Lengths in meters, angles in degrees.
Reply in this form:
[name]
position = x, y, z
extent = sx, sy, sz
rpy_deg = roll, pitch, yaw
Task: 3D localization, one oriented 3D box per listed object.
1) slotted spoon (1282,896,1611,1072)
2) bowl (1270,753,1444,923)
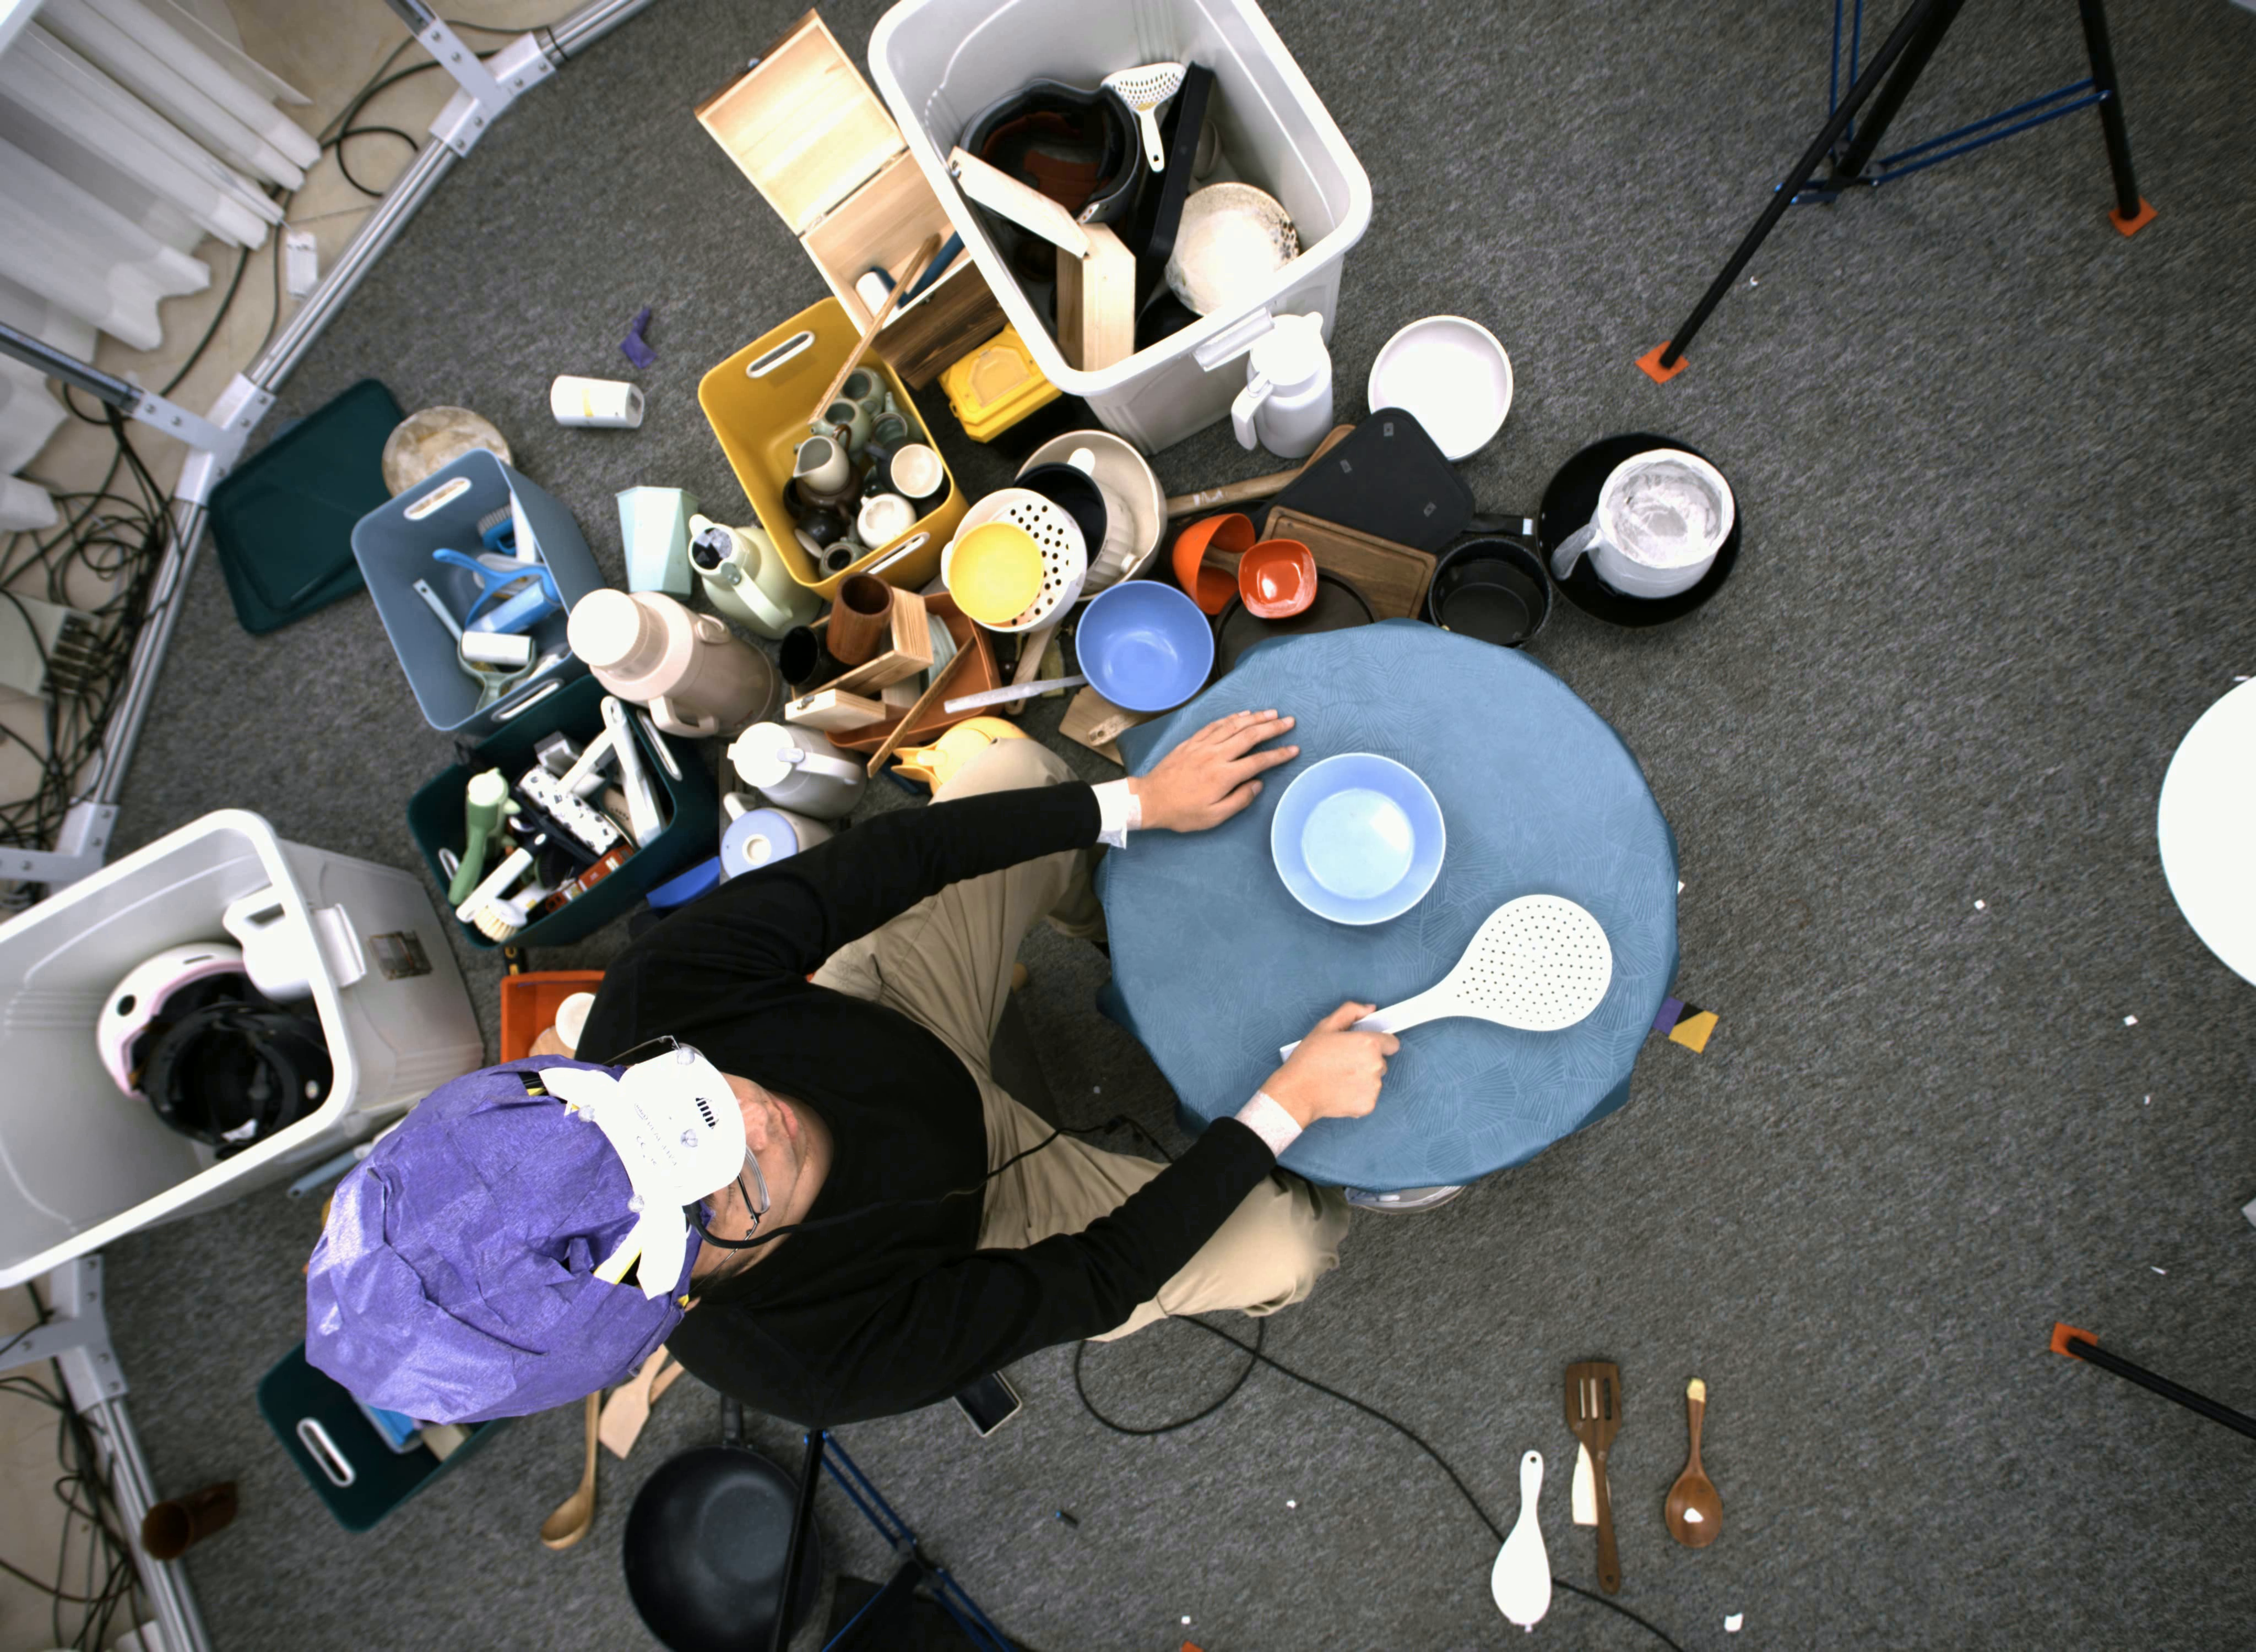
[slotted spoon]
position = 0.322, 0.179, 1.421
extent = 0.352, 0.046, 0.134
rpy_deg = -23, 75, 10
[bowl]
position = 0.237, 0.014, 1.434
extent = 0.177, 0.070, 0.175
rpy_deg = -1, 86, 11
